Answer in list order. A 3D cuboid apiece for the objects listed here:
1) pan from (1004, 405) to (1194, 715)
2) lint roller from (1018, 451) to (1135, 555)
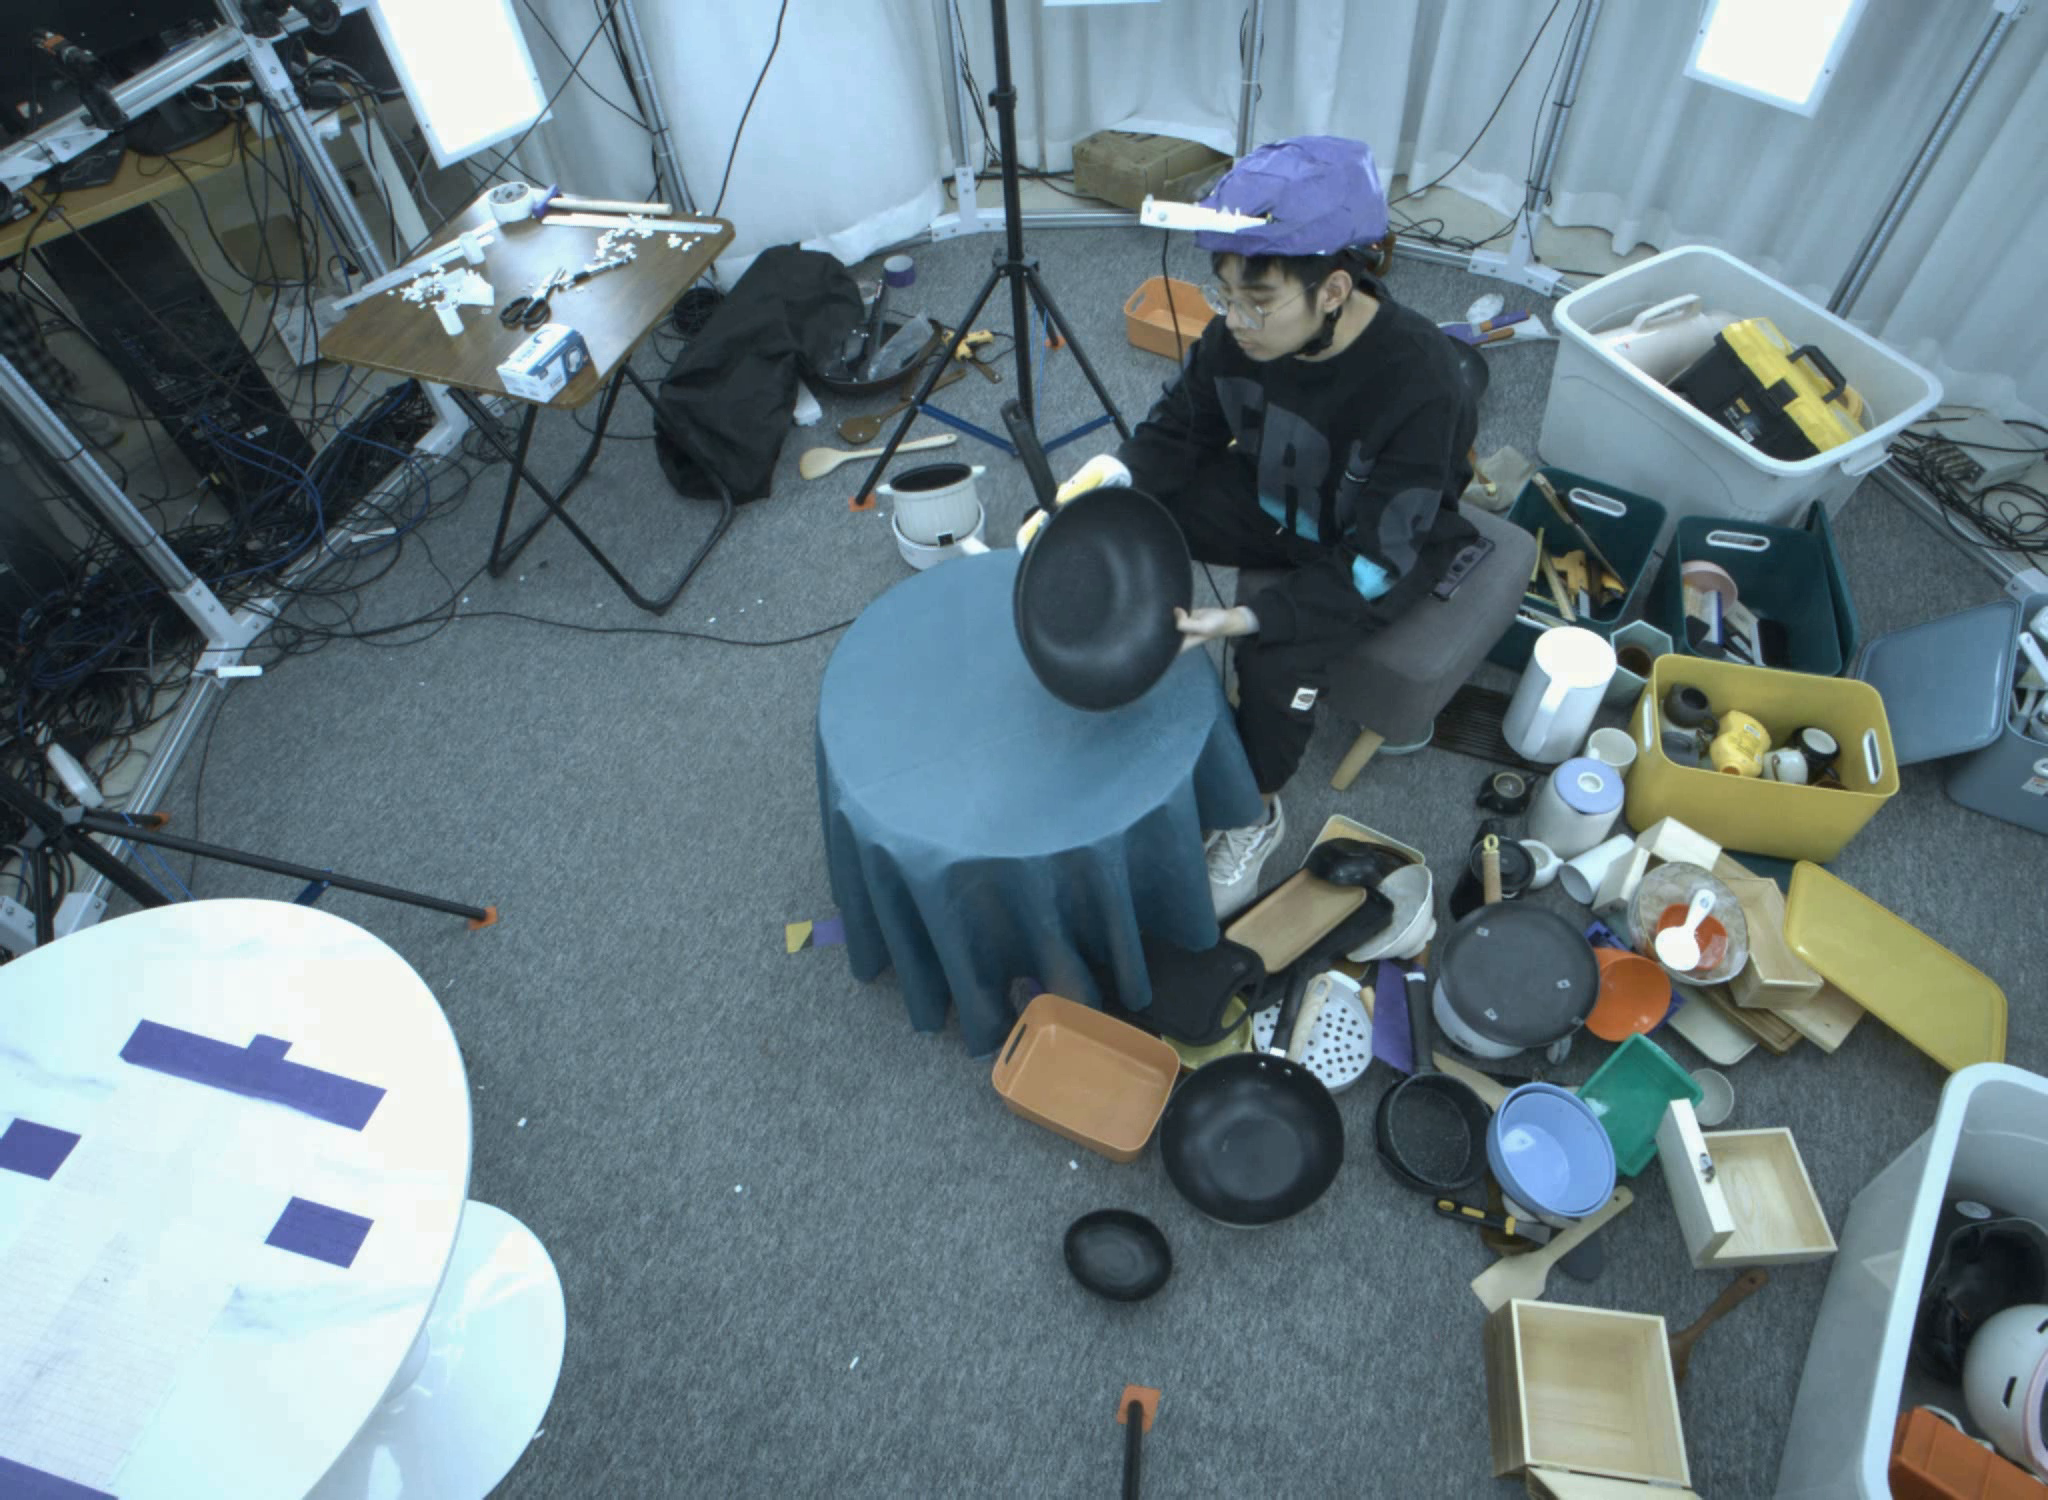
[{"bbox_3d":[0.063,-0.262,1.642,0.311,0.486,0.109,-48,37,-19],"label":"pan"},{"bbox_3d":[0.087,-0.346,1.789,0.192,0.195,0.073,-46,74,12],"label":"lint roller"}]
